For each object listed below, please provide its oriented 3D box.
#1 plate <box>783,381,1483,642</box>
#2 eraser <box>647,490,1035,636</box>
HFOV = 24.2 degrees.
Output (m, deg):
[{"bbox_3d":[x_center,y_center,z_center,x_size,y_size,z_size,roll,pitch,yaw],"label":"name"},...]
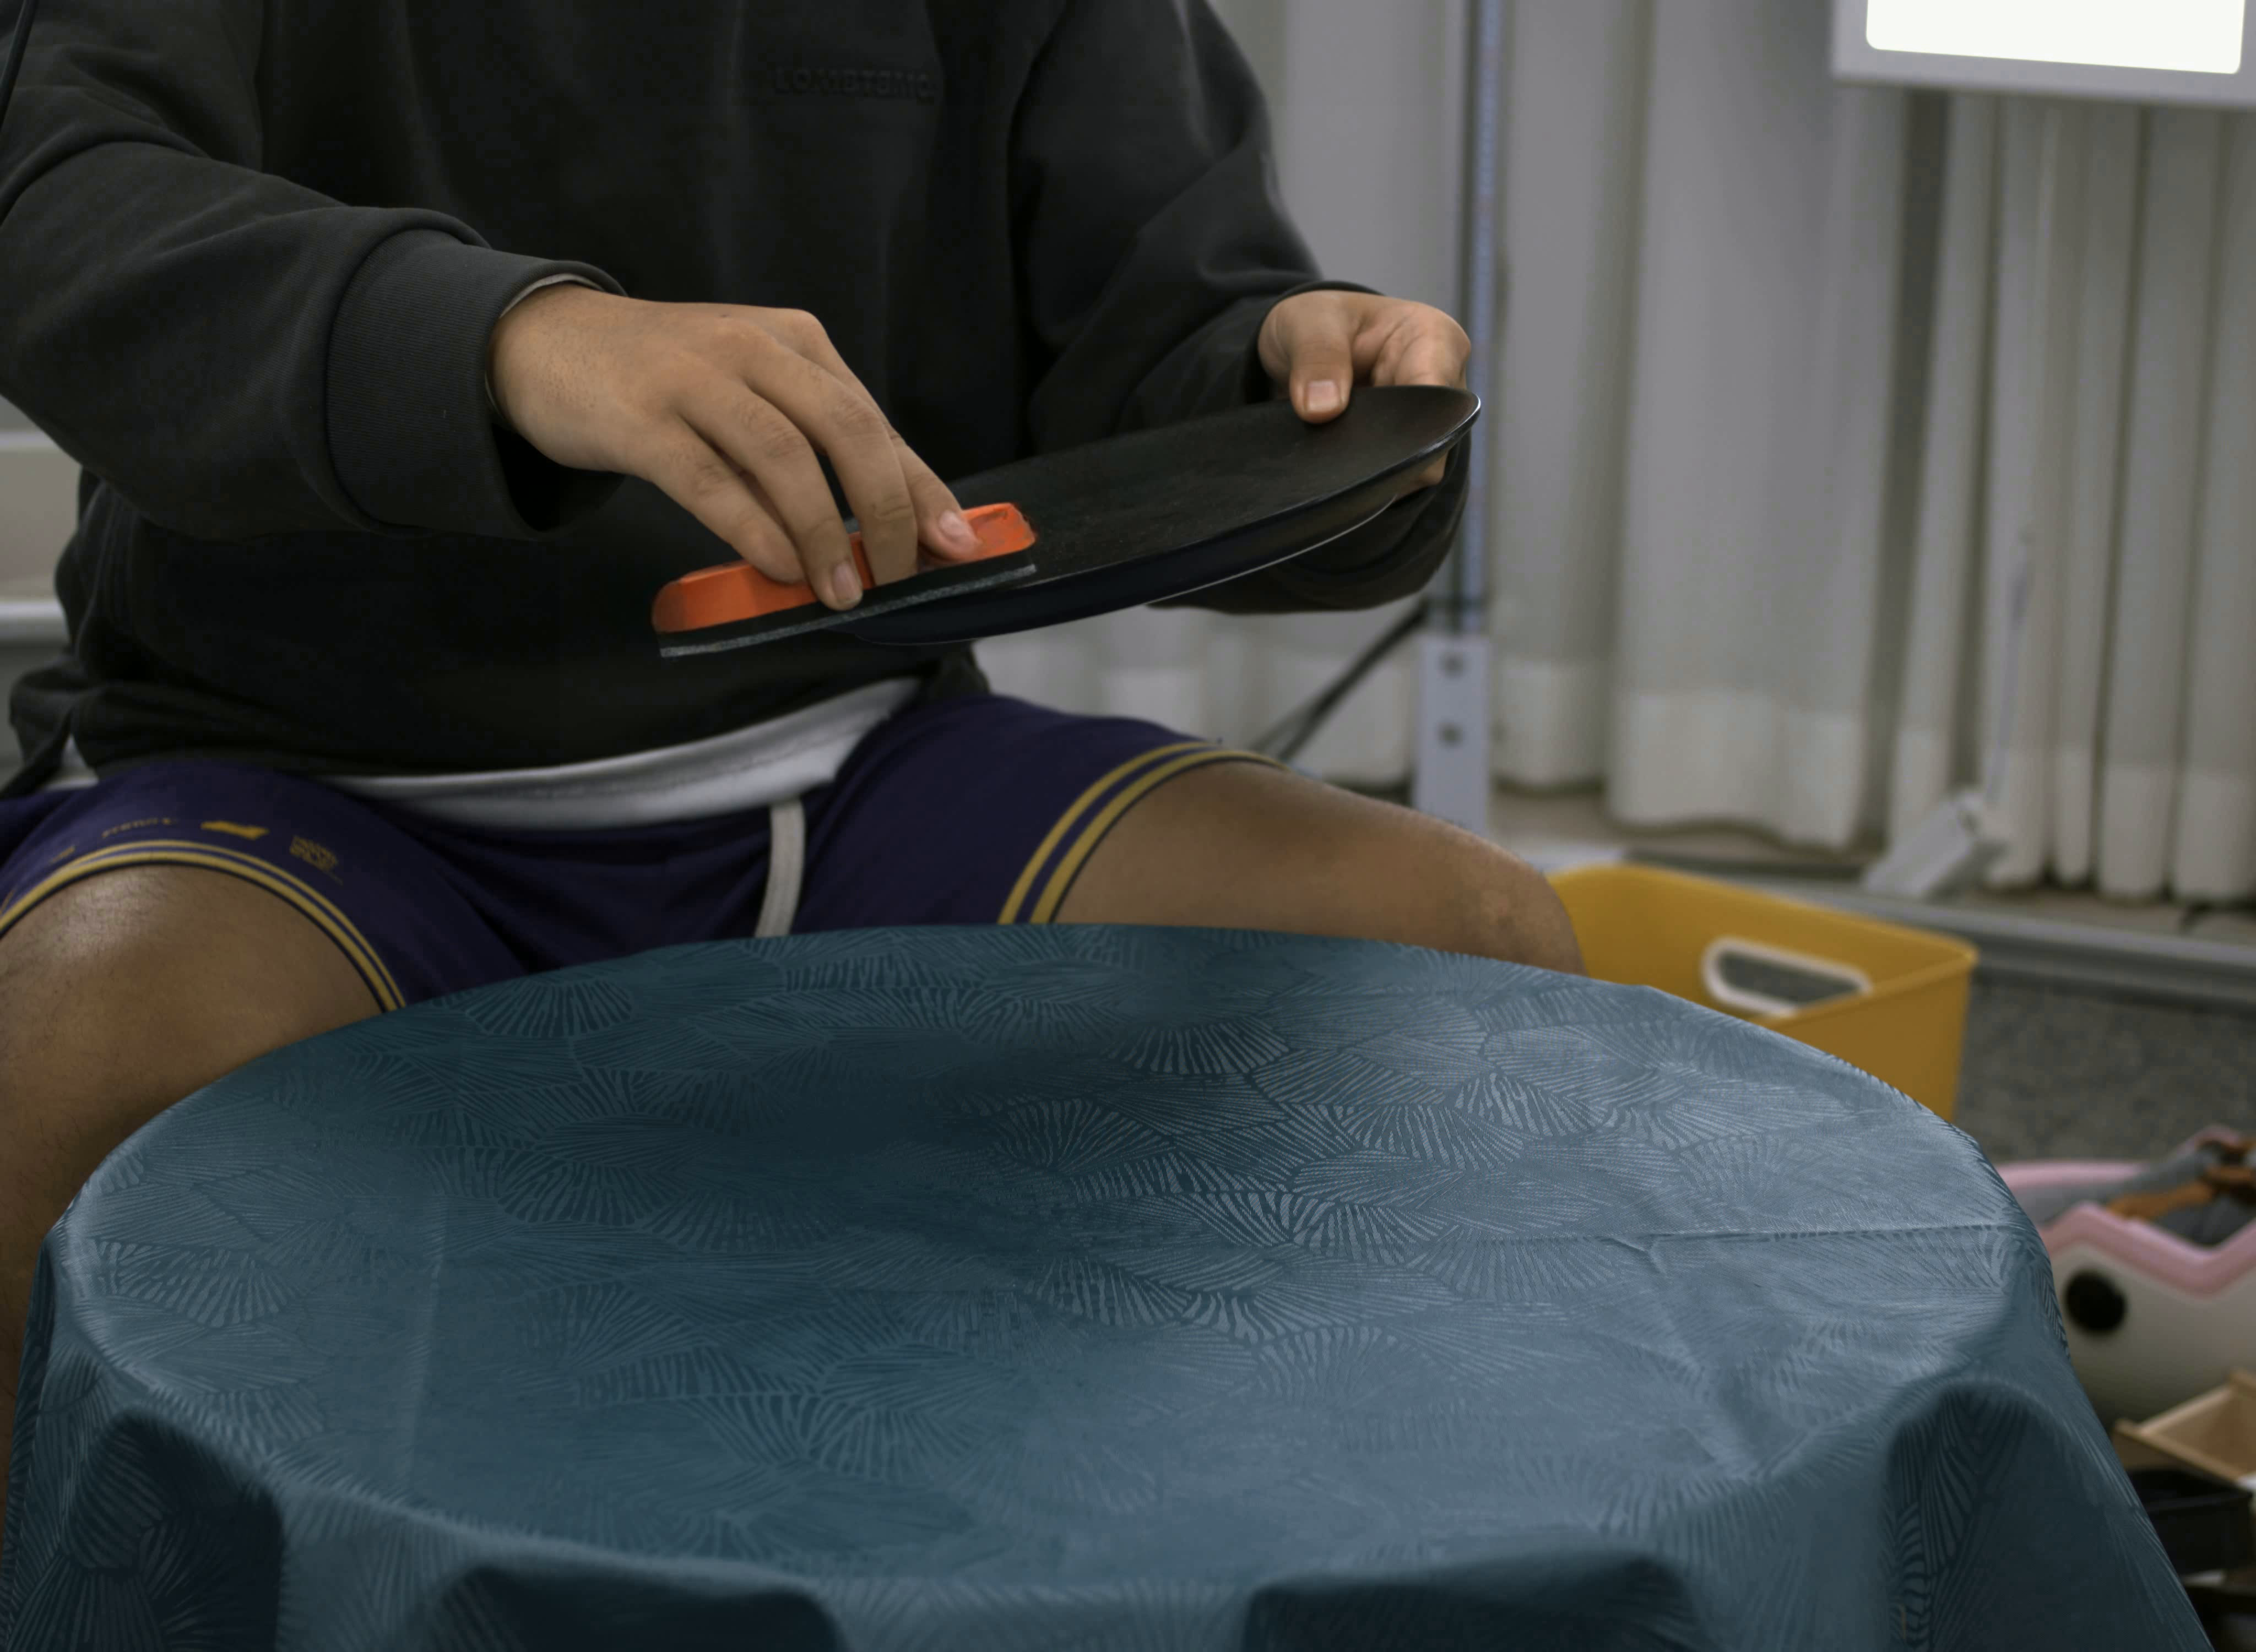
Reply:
[{"bbox_3d":[-0.003,-0.097,1.673,0.243,0.023,0.243,-14,12,4],"label":"plate"},{"bbox_3d":[-0.085,-0.078,1.561,0.108,0.023,0.058,-14,7,-30],"label":"eraser"}]
